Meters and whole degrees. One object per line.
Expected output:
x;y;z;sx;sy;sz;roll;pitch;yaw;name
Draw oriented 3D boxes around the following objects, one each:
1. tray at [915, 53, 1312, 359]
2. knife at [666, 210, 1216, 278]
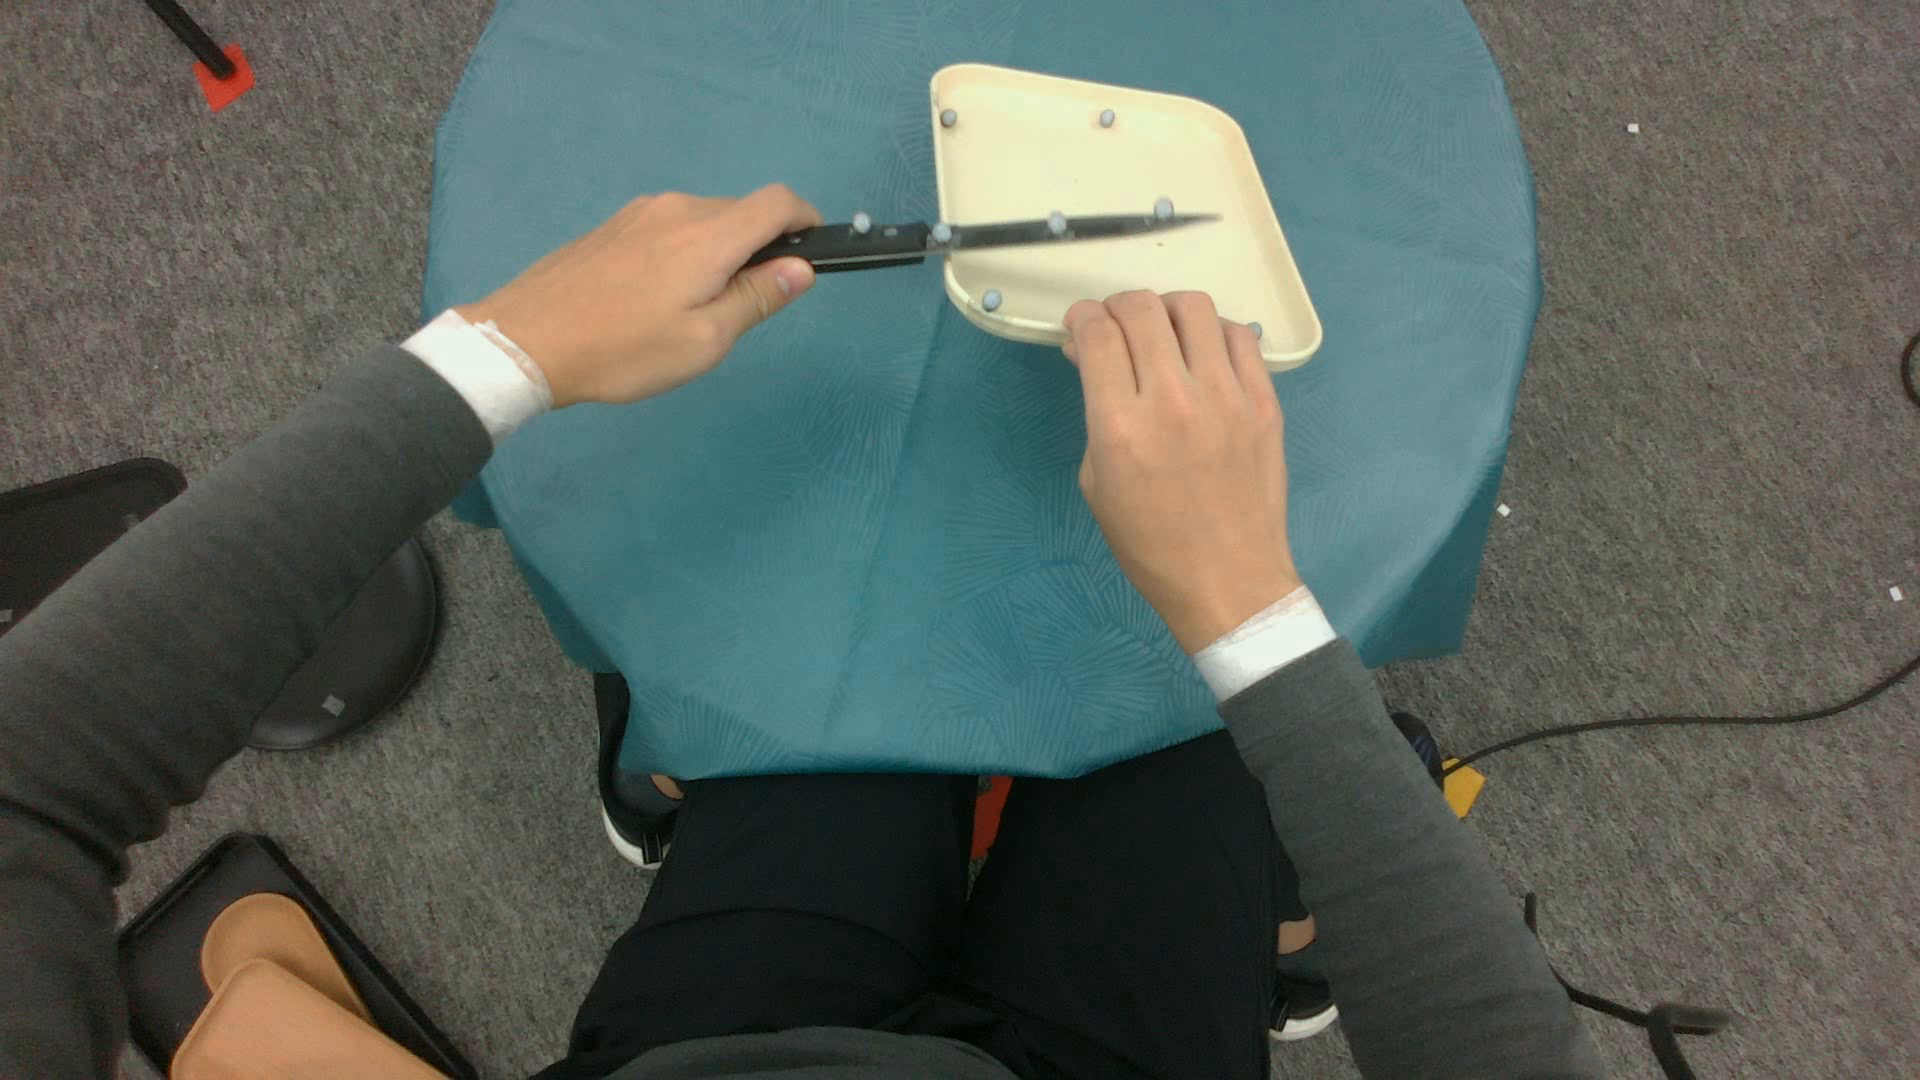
0.065;-0.165;0.661;0.171;0.017;0.241;6;42;-11;tray
-0.012;-0.127;0.584;0.238;0.016;0.024;-2;45;9;knife
